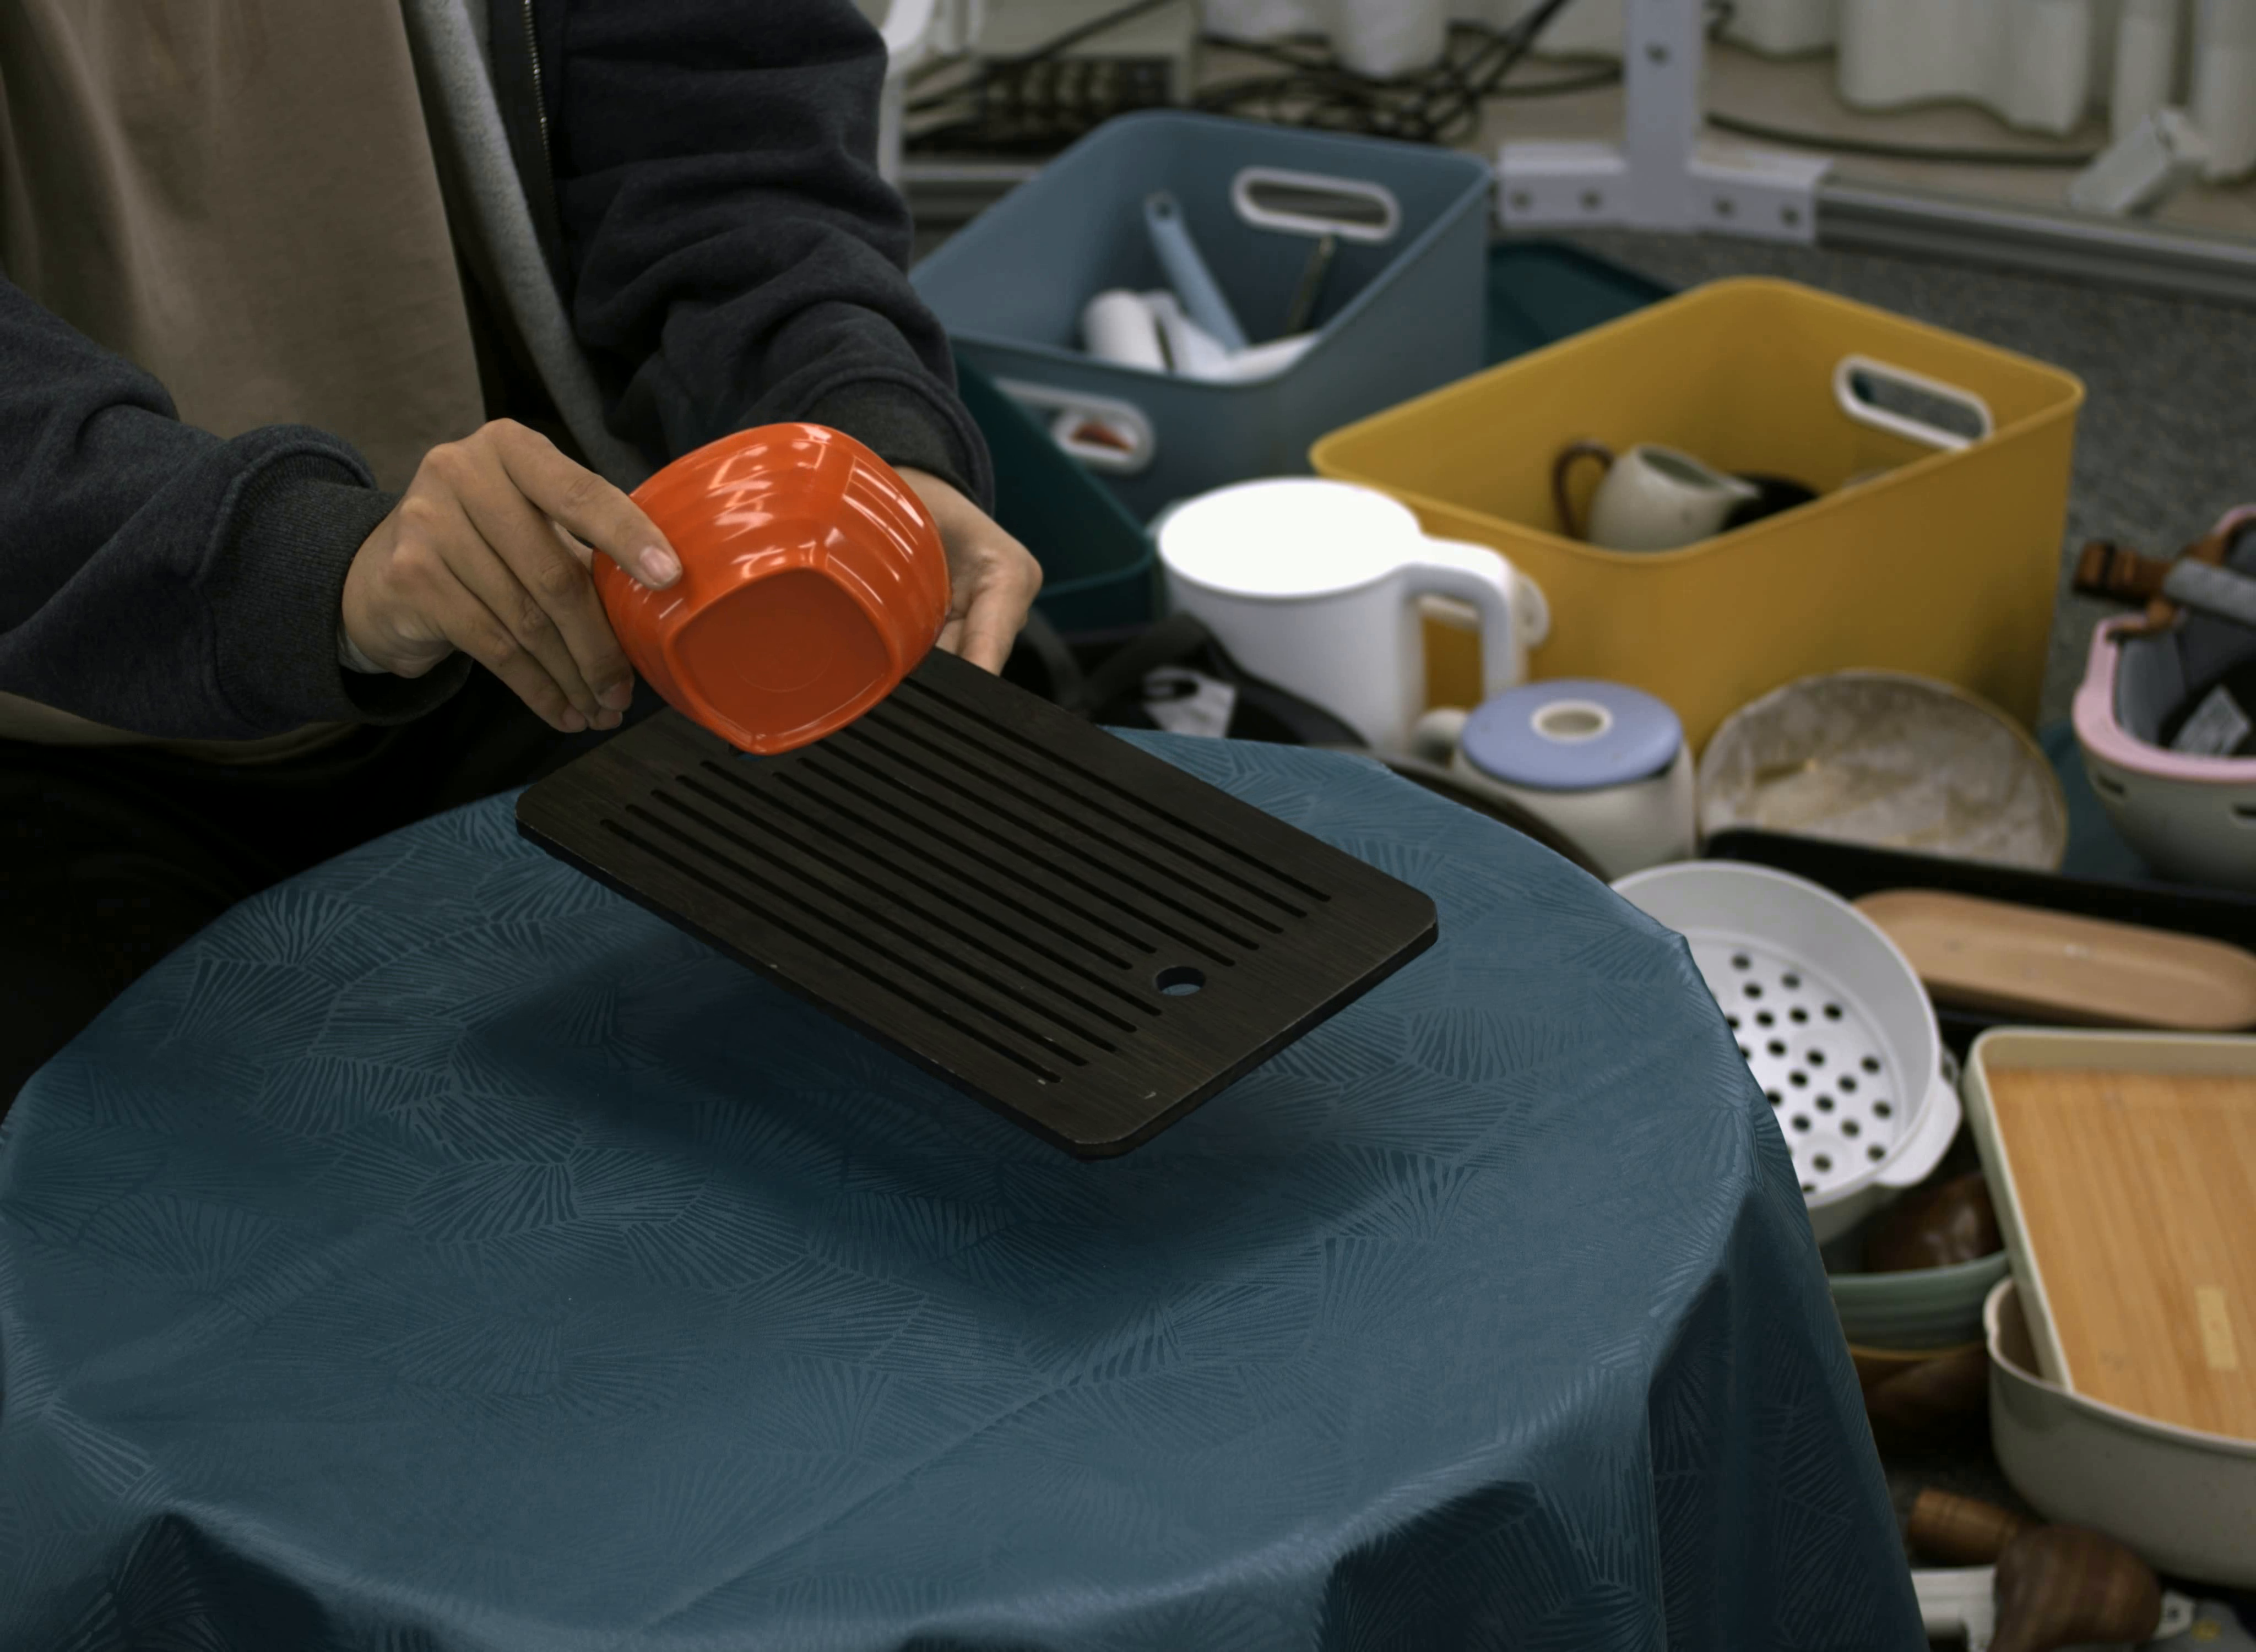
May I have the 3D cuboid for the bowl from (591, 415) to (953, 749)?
[{"bbox_3d":[-0.112,-0.069,1.804,0.118,0.117,0.052,-5,39,-5],"label":"bowl"}]

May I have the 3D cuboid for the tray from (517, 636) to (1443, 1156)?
[{"bbox_3d":[-0.054,0.016,1.929,0.172,0.018,0.306,-32,42,-33],"label":"tray"}]
